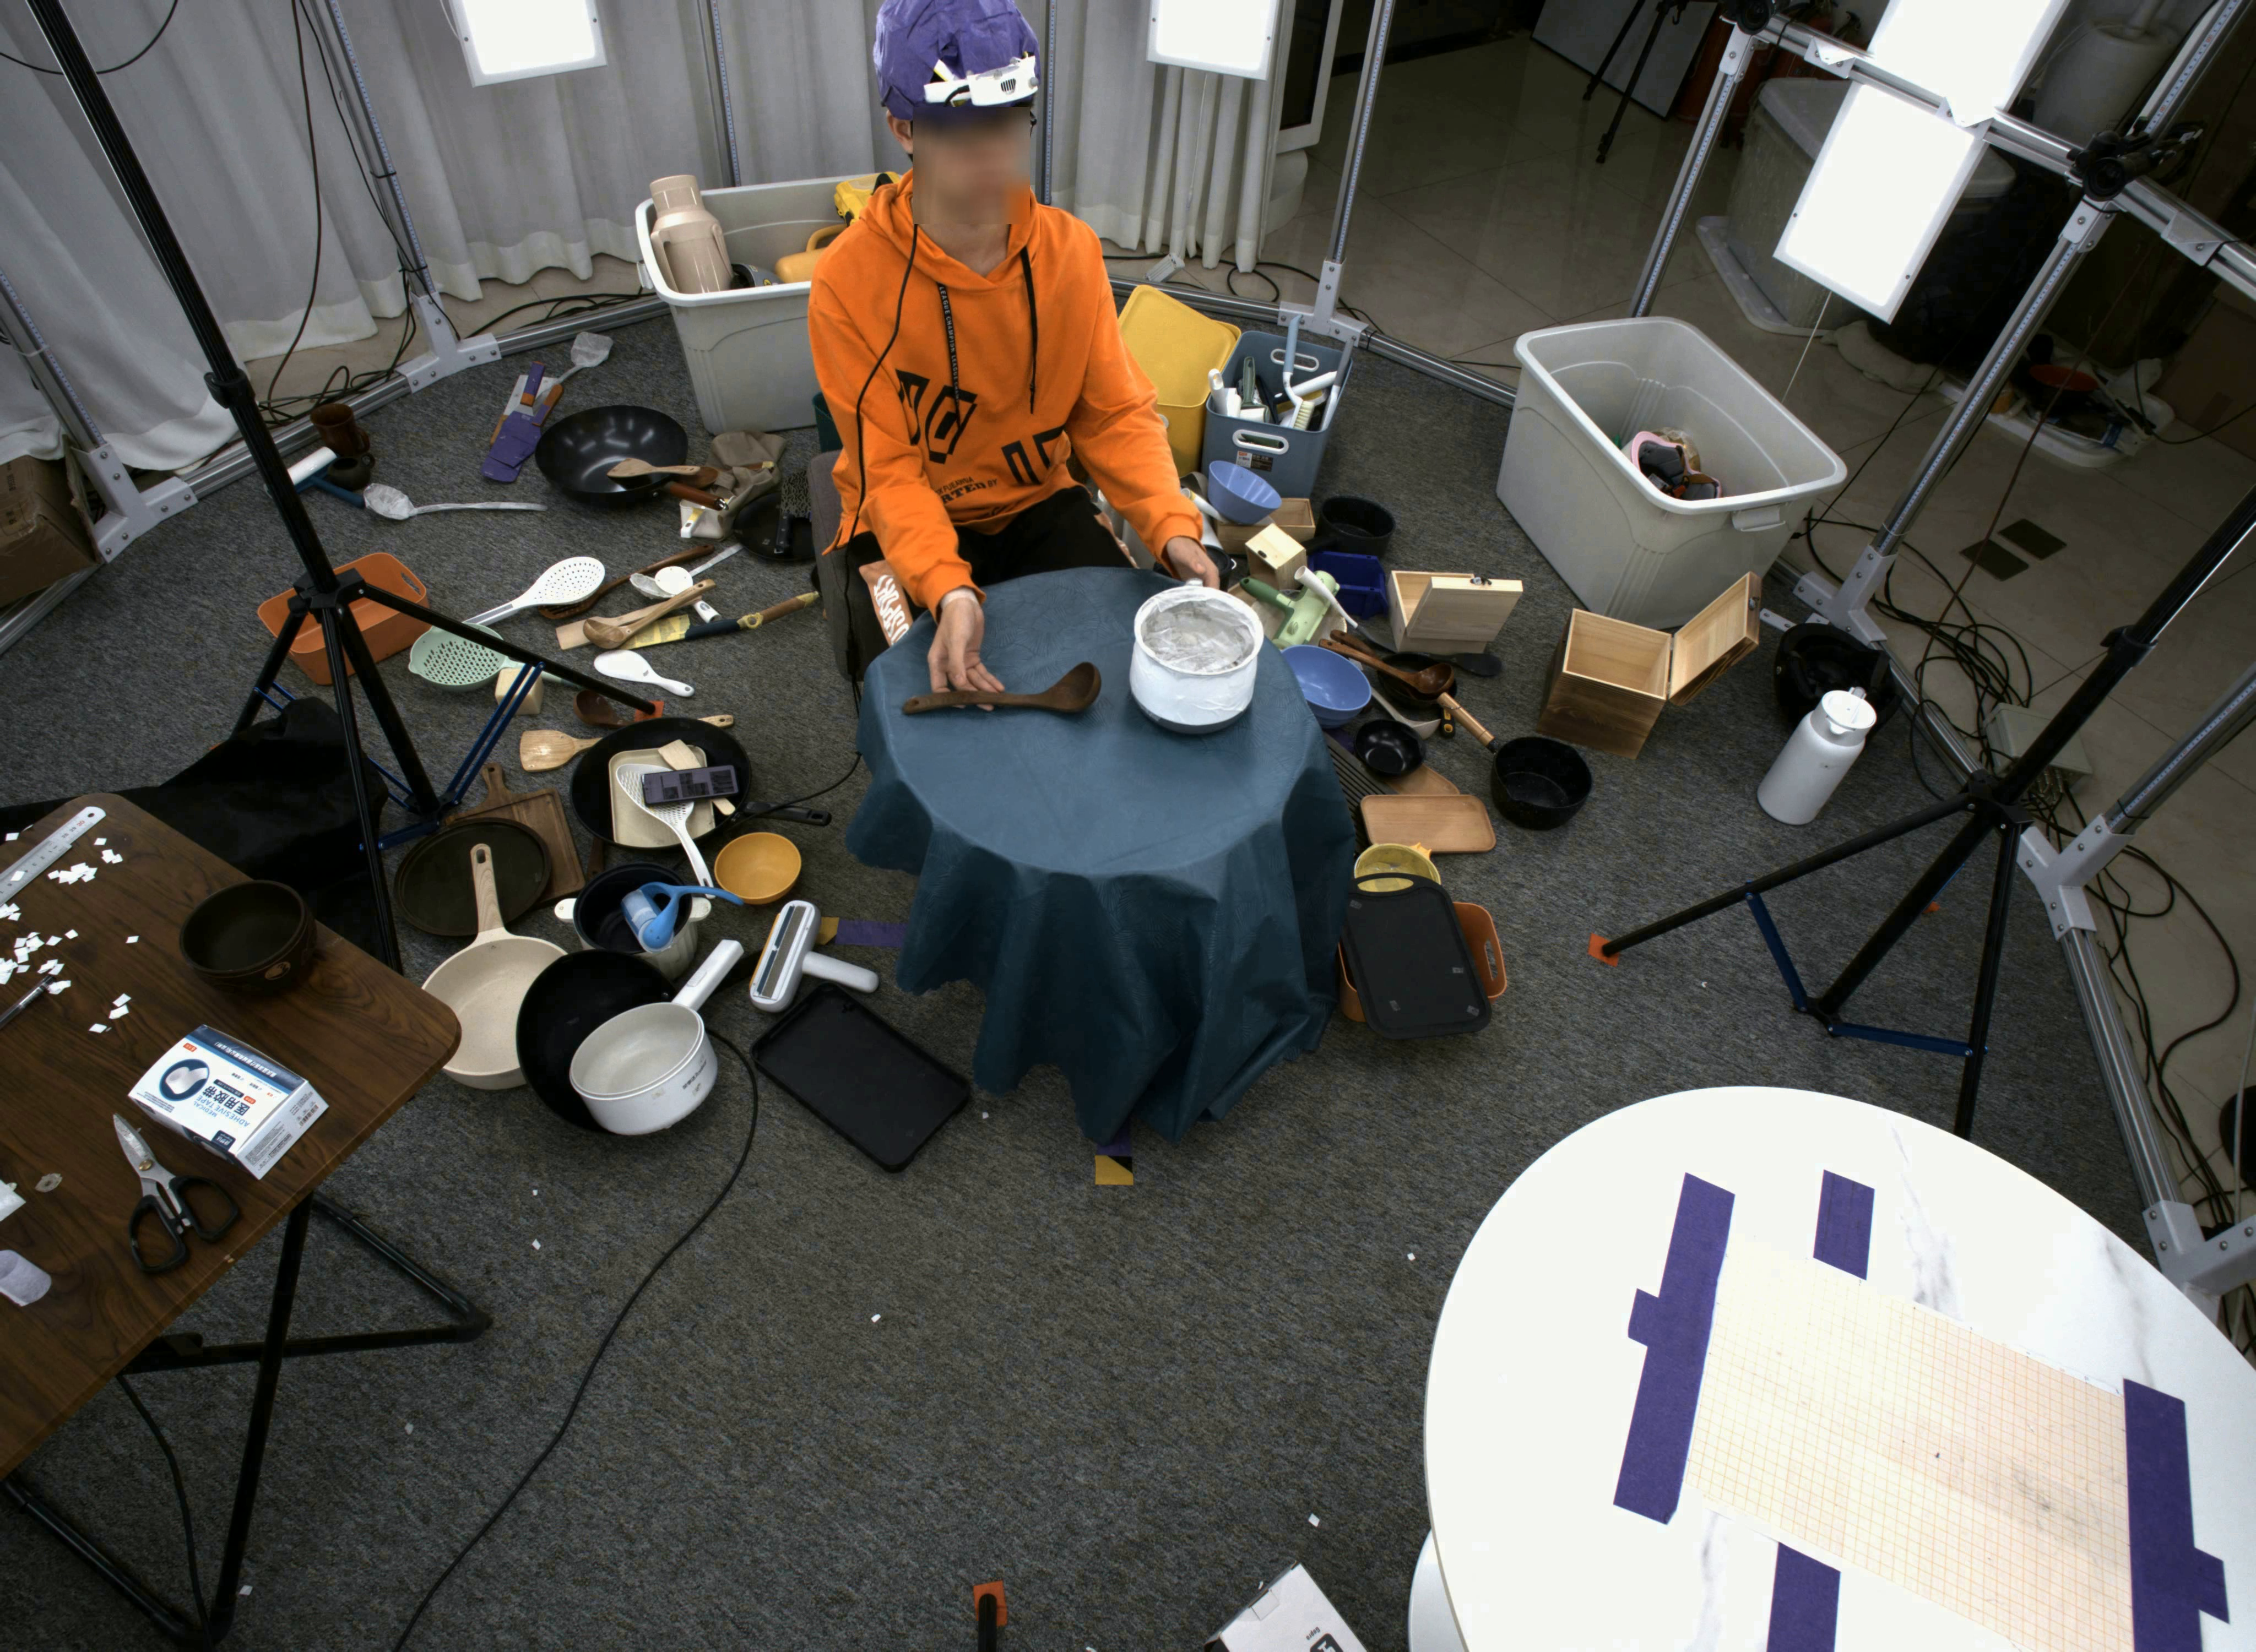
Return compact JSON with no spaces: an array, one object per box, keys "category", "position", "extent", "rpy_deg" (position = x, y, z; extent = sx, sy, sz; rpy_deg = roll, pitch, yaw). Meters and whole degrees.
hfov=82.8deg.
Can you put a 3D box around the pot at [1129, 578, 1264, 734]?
[{"category":"pot","position":[0.091,-0.248,1.802],"extent":[0.178,0.133,0.239],"rpy_deg":[1,49,-4]}]

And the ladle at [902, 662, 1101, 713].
[{"category":"ladle","position":[-0.175,-0.190,1.776],"extent":[0.274,0.069,0.078],"rpy_deg":[-1,46,-6]}]
